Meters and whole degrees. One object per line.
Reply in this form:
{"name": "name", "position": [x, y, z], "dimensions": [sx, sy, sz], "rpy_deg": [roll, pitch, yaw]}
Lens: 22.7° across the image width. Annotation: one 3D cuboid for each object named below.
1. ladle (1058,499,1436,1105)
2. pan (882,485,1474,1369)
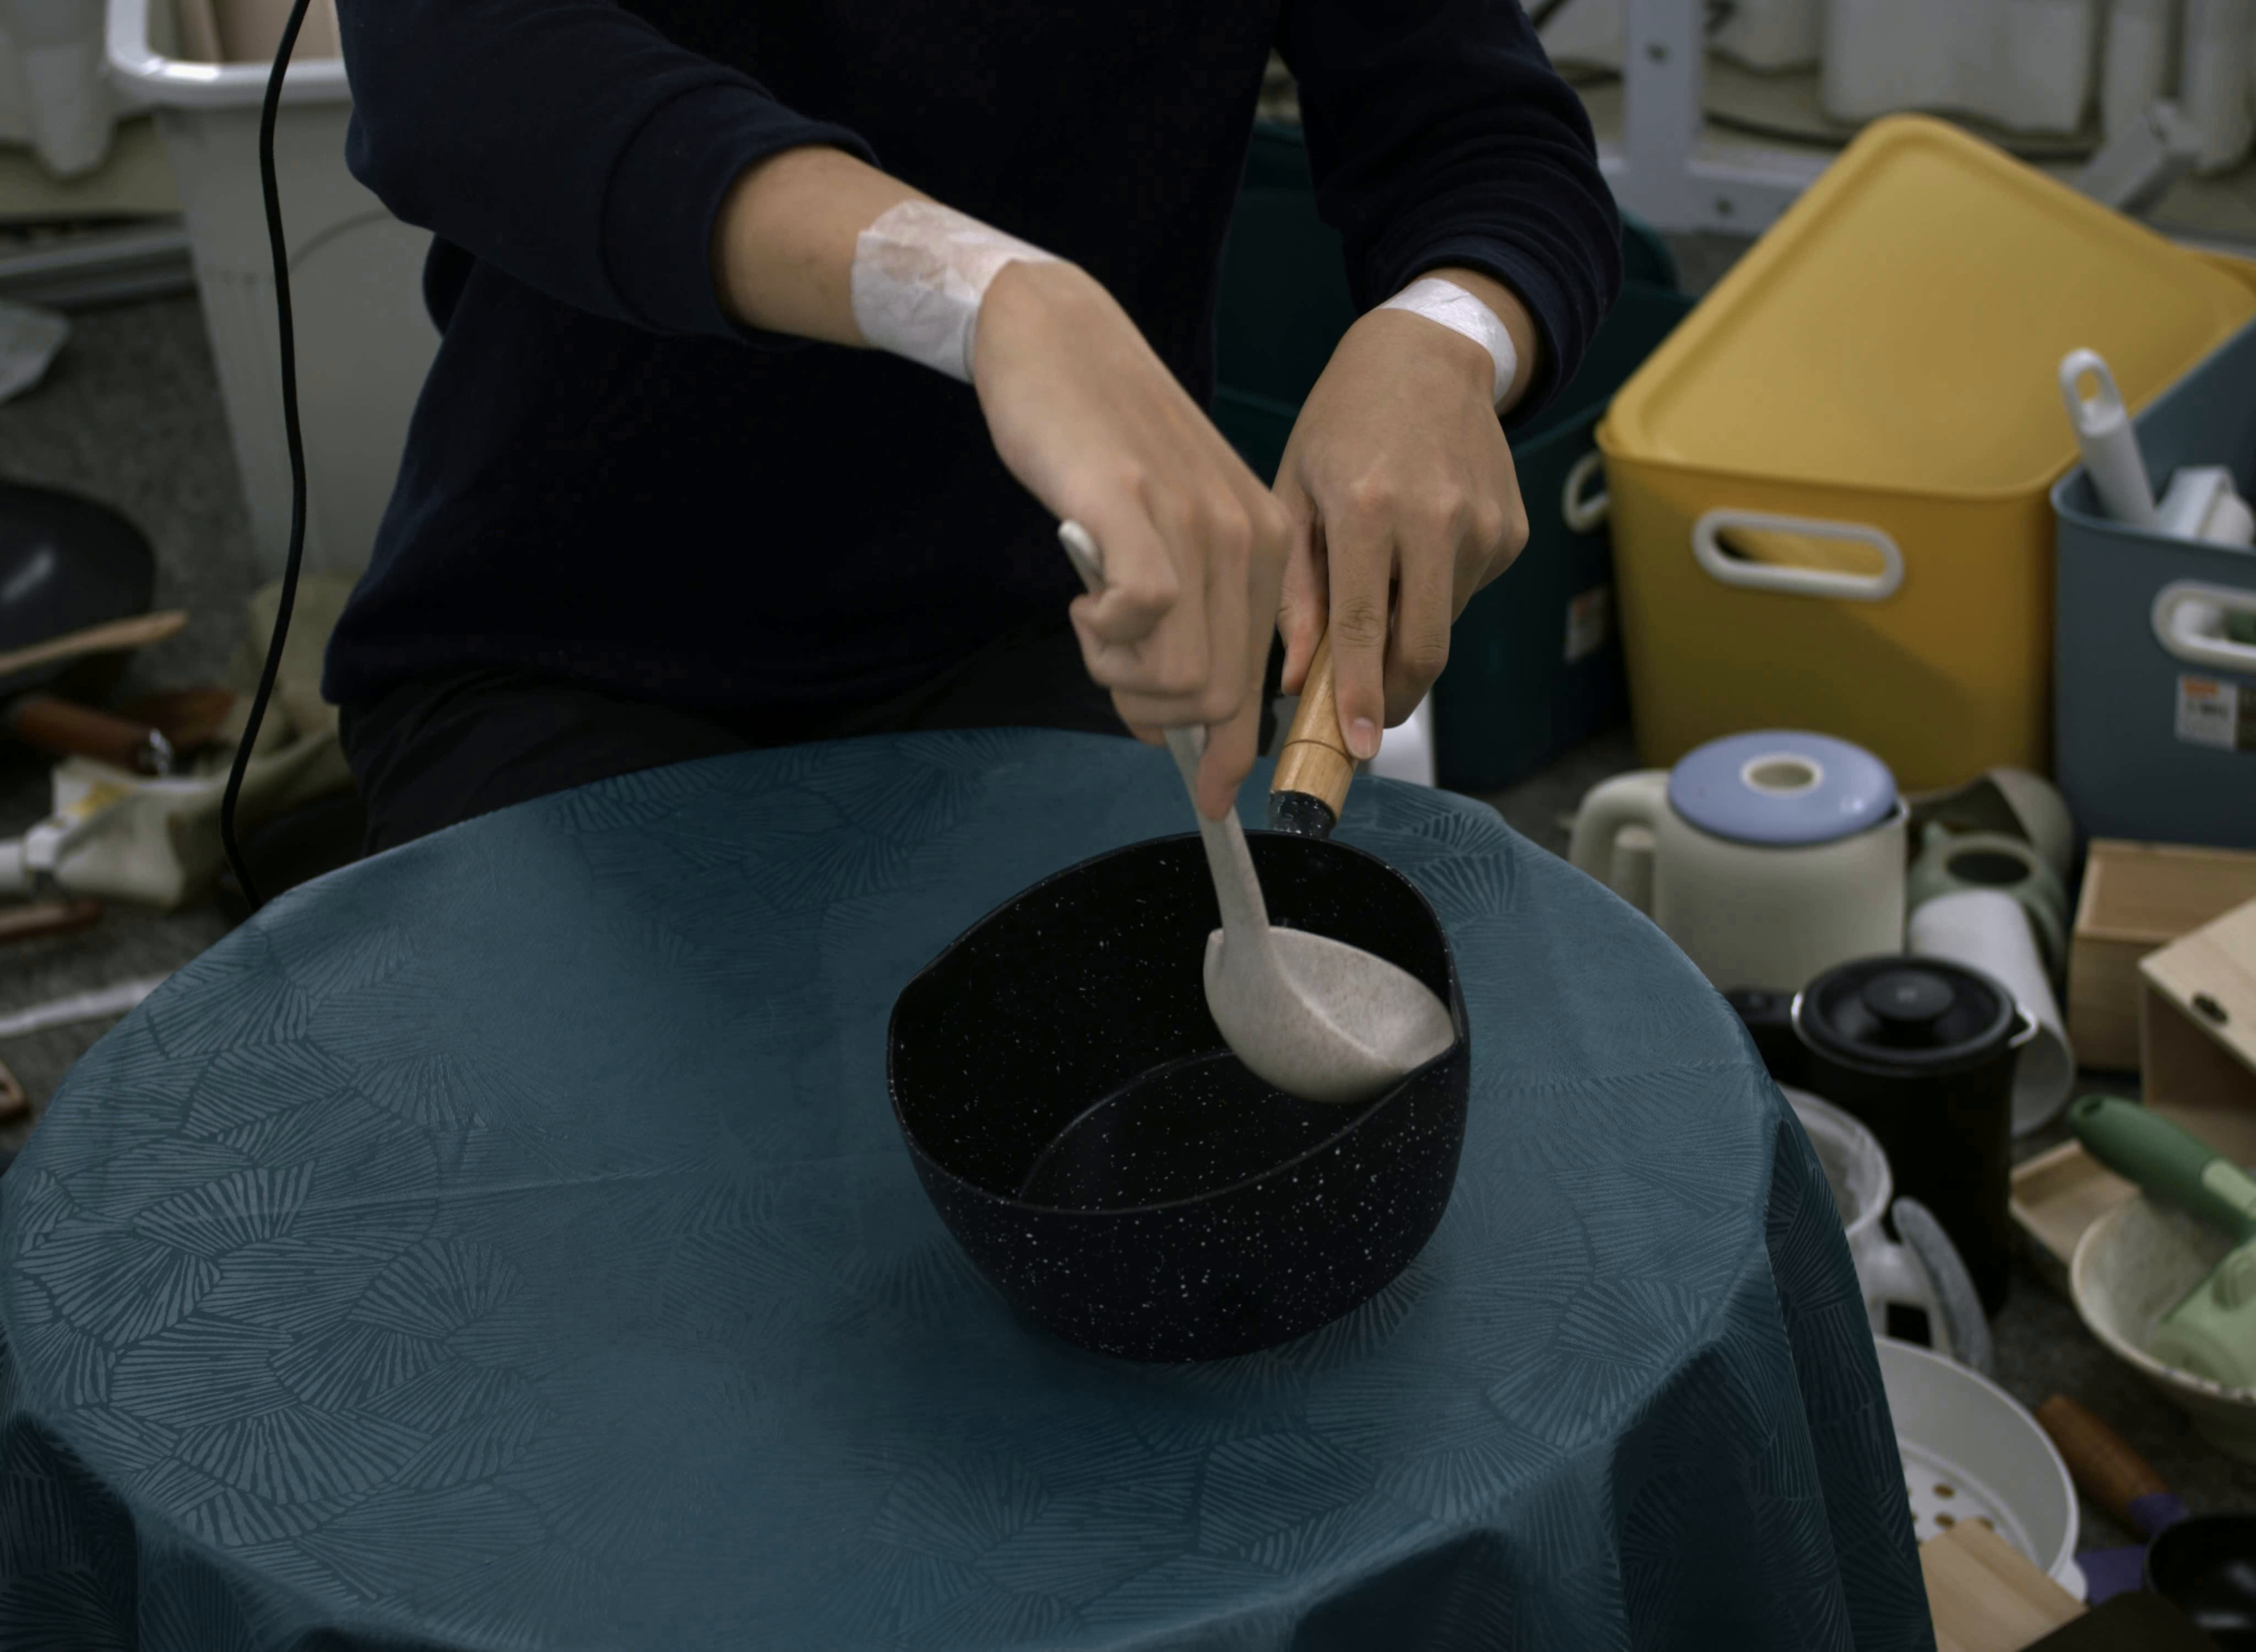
{"name": "ladle", "position": [0.038, -0.017, 1.688], "dimensions": [0.070, 0.271, 0.090], "rpy_deg": [-35, 47, -17]}
{"name": "pan", "position": [0.045, 0.031, 1.847], "dimensions": [0.205, 0.107, 0.350], "rpy_deg": [0, 40, 24]}
